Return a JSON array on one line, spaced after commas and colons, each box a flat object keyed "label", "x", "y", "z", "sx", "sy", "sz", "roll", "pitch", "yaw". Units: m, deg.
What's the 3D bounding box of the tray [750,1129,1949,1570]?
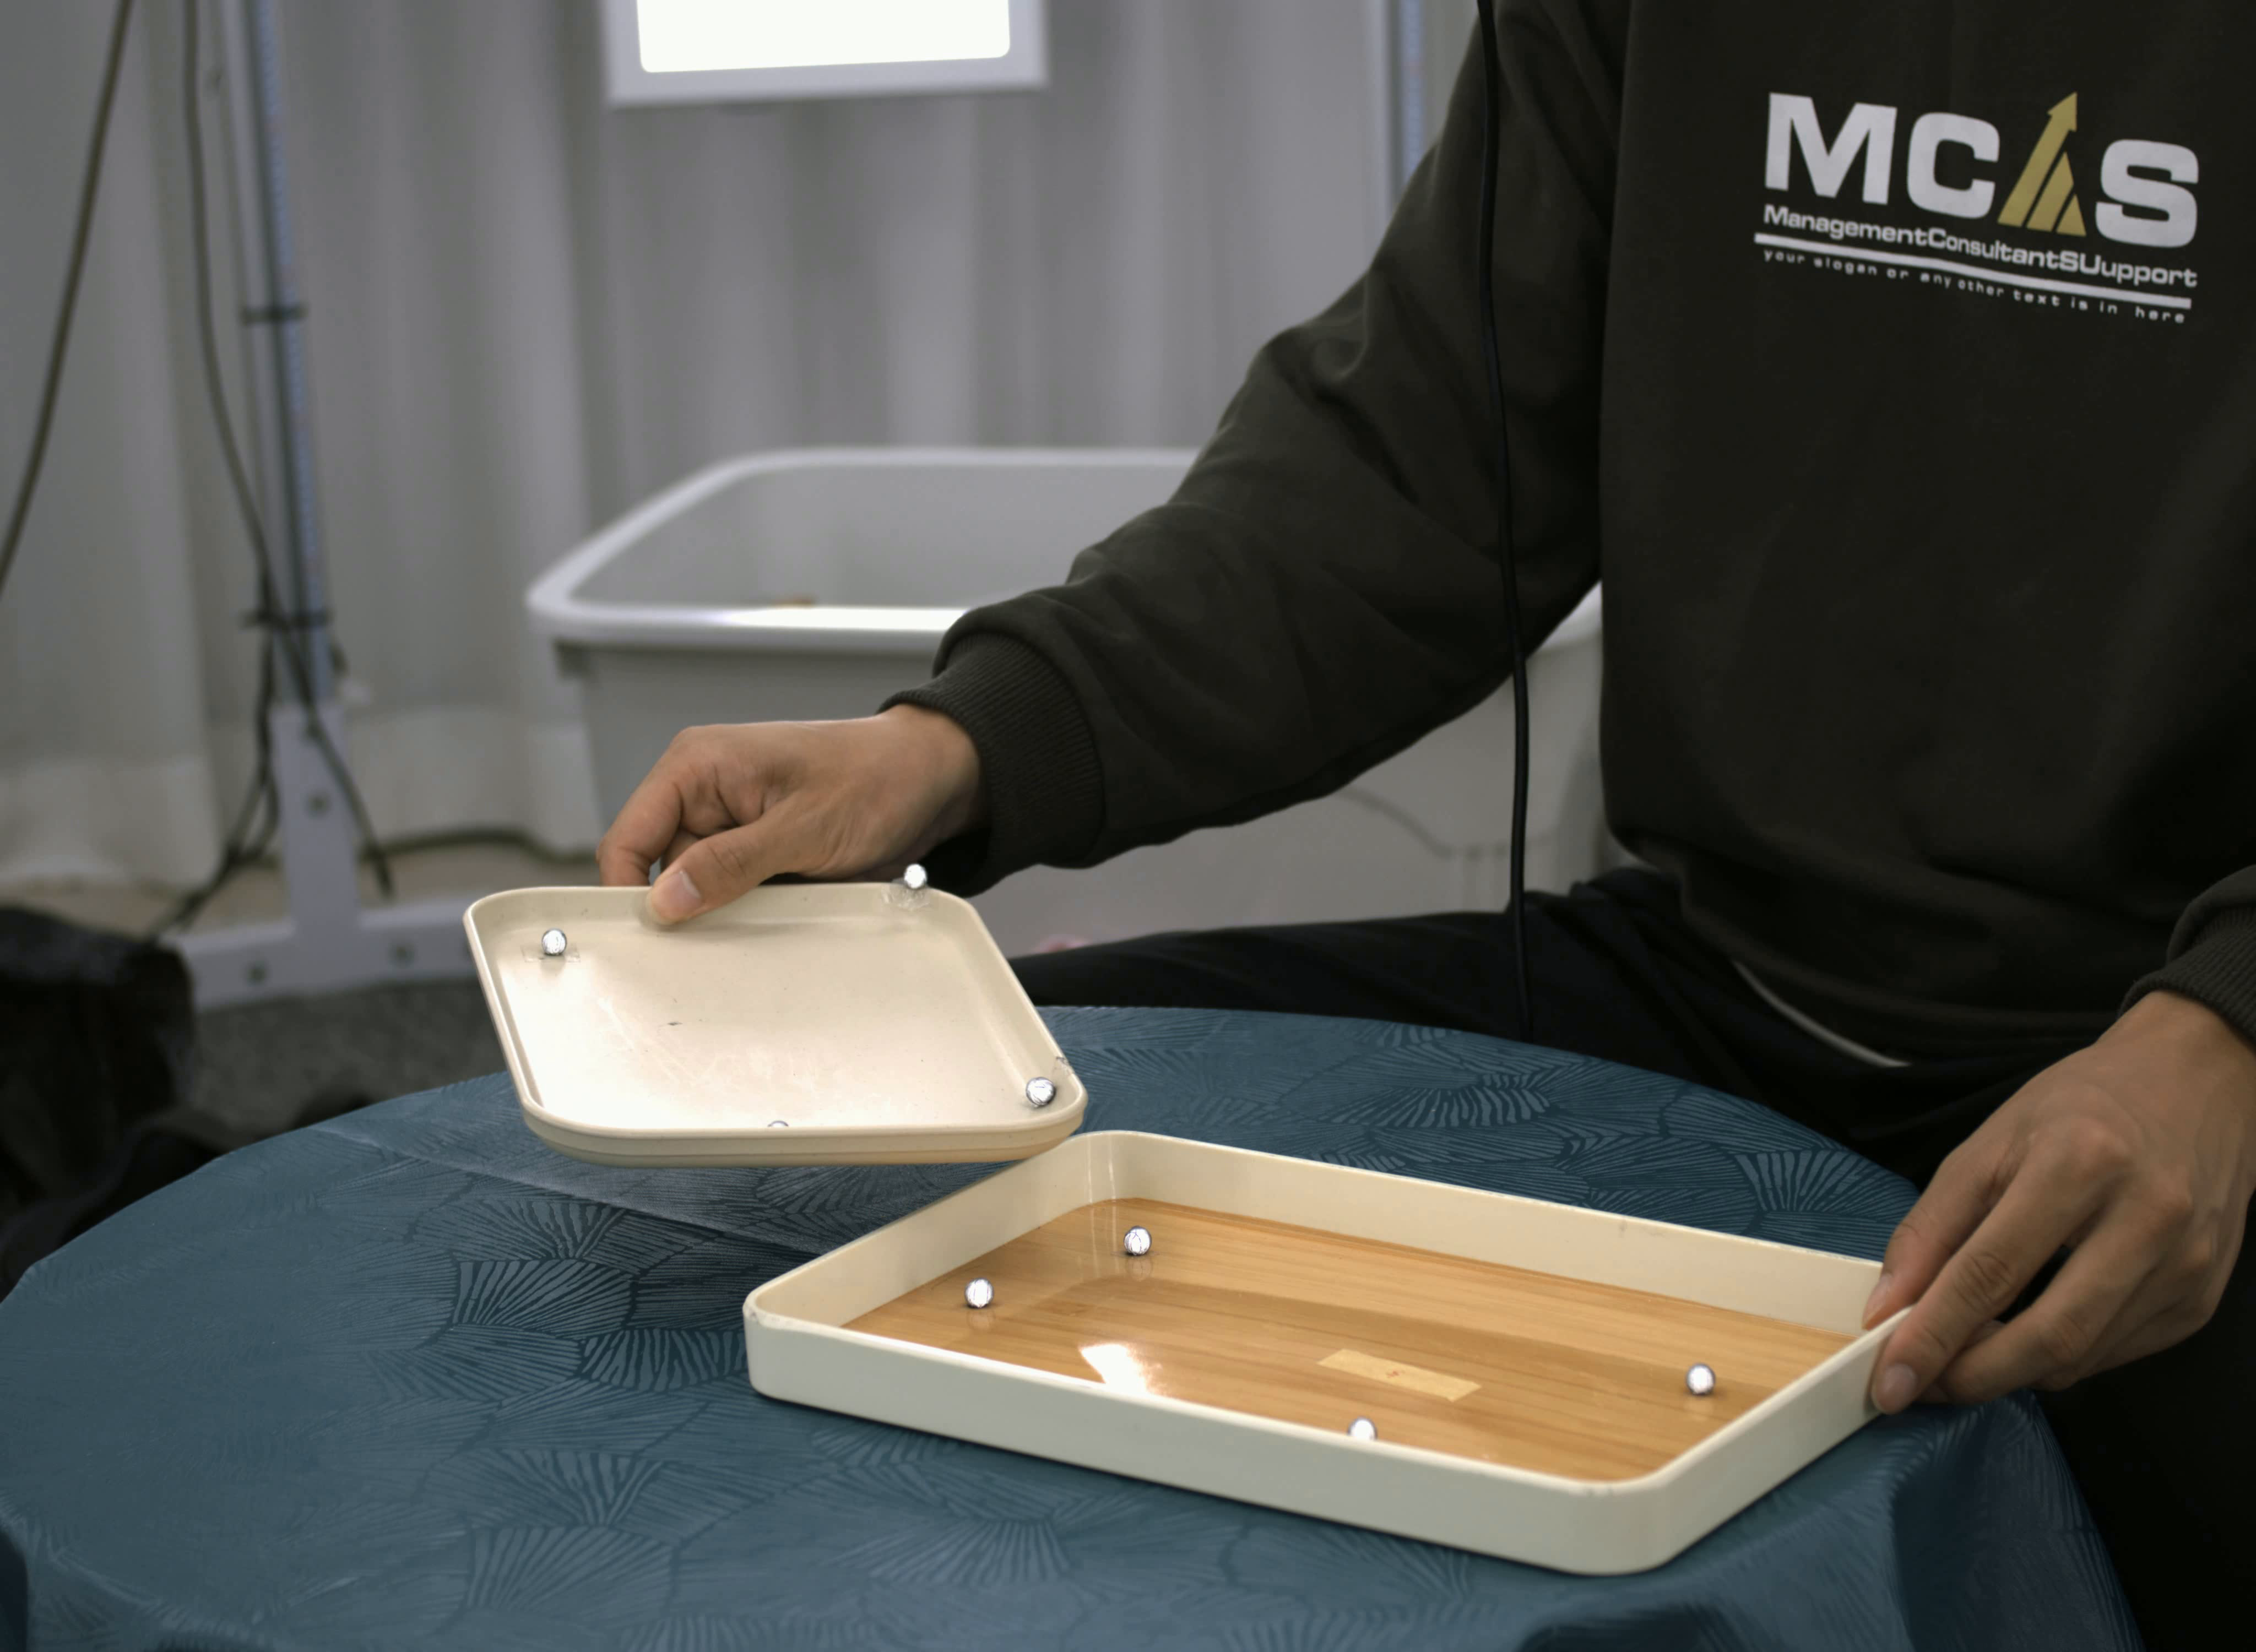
[{"label": "tray", "x": 0.062, "y": 0.144, "z": 1.548, "sx": 0.301, "sy": 0.027, "sz": 0.191, "roll": 8, "pitch": 18, "yaw": 34}]

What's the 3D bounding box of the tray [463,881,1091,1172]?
[{"label": "tray", "x": -0.114, "y": 0.061, "z": 1.708, "sx": 0.170, "sy": 0.017, "sz": 0.242, "roll": -1, "pitch": 17, "yaw": -12}]
